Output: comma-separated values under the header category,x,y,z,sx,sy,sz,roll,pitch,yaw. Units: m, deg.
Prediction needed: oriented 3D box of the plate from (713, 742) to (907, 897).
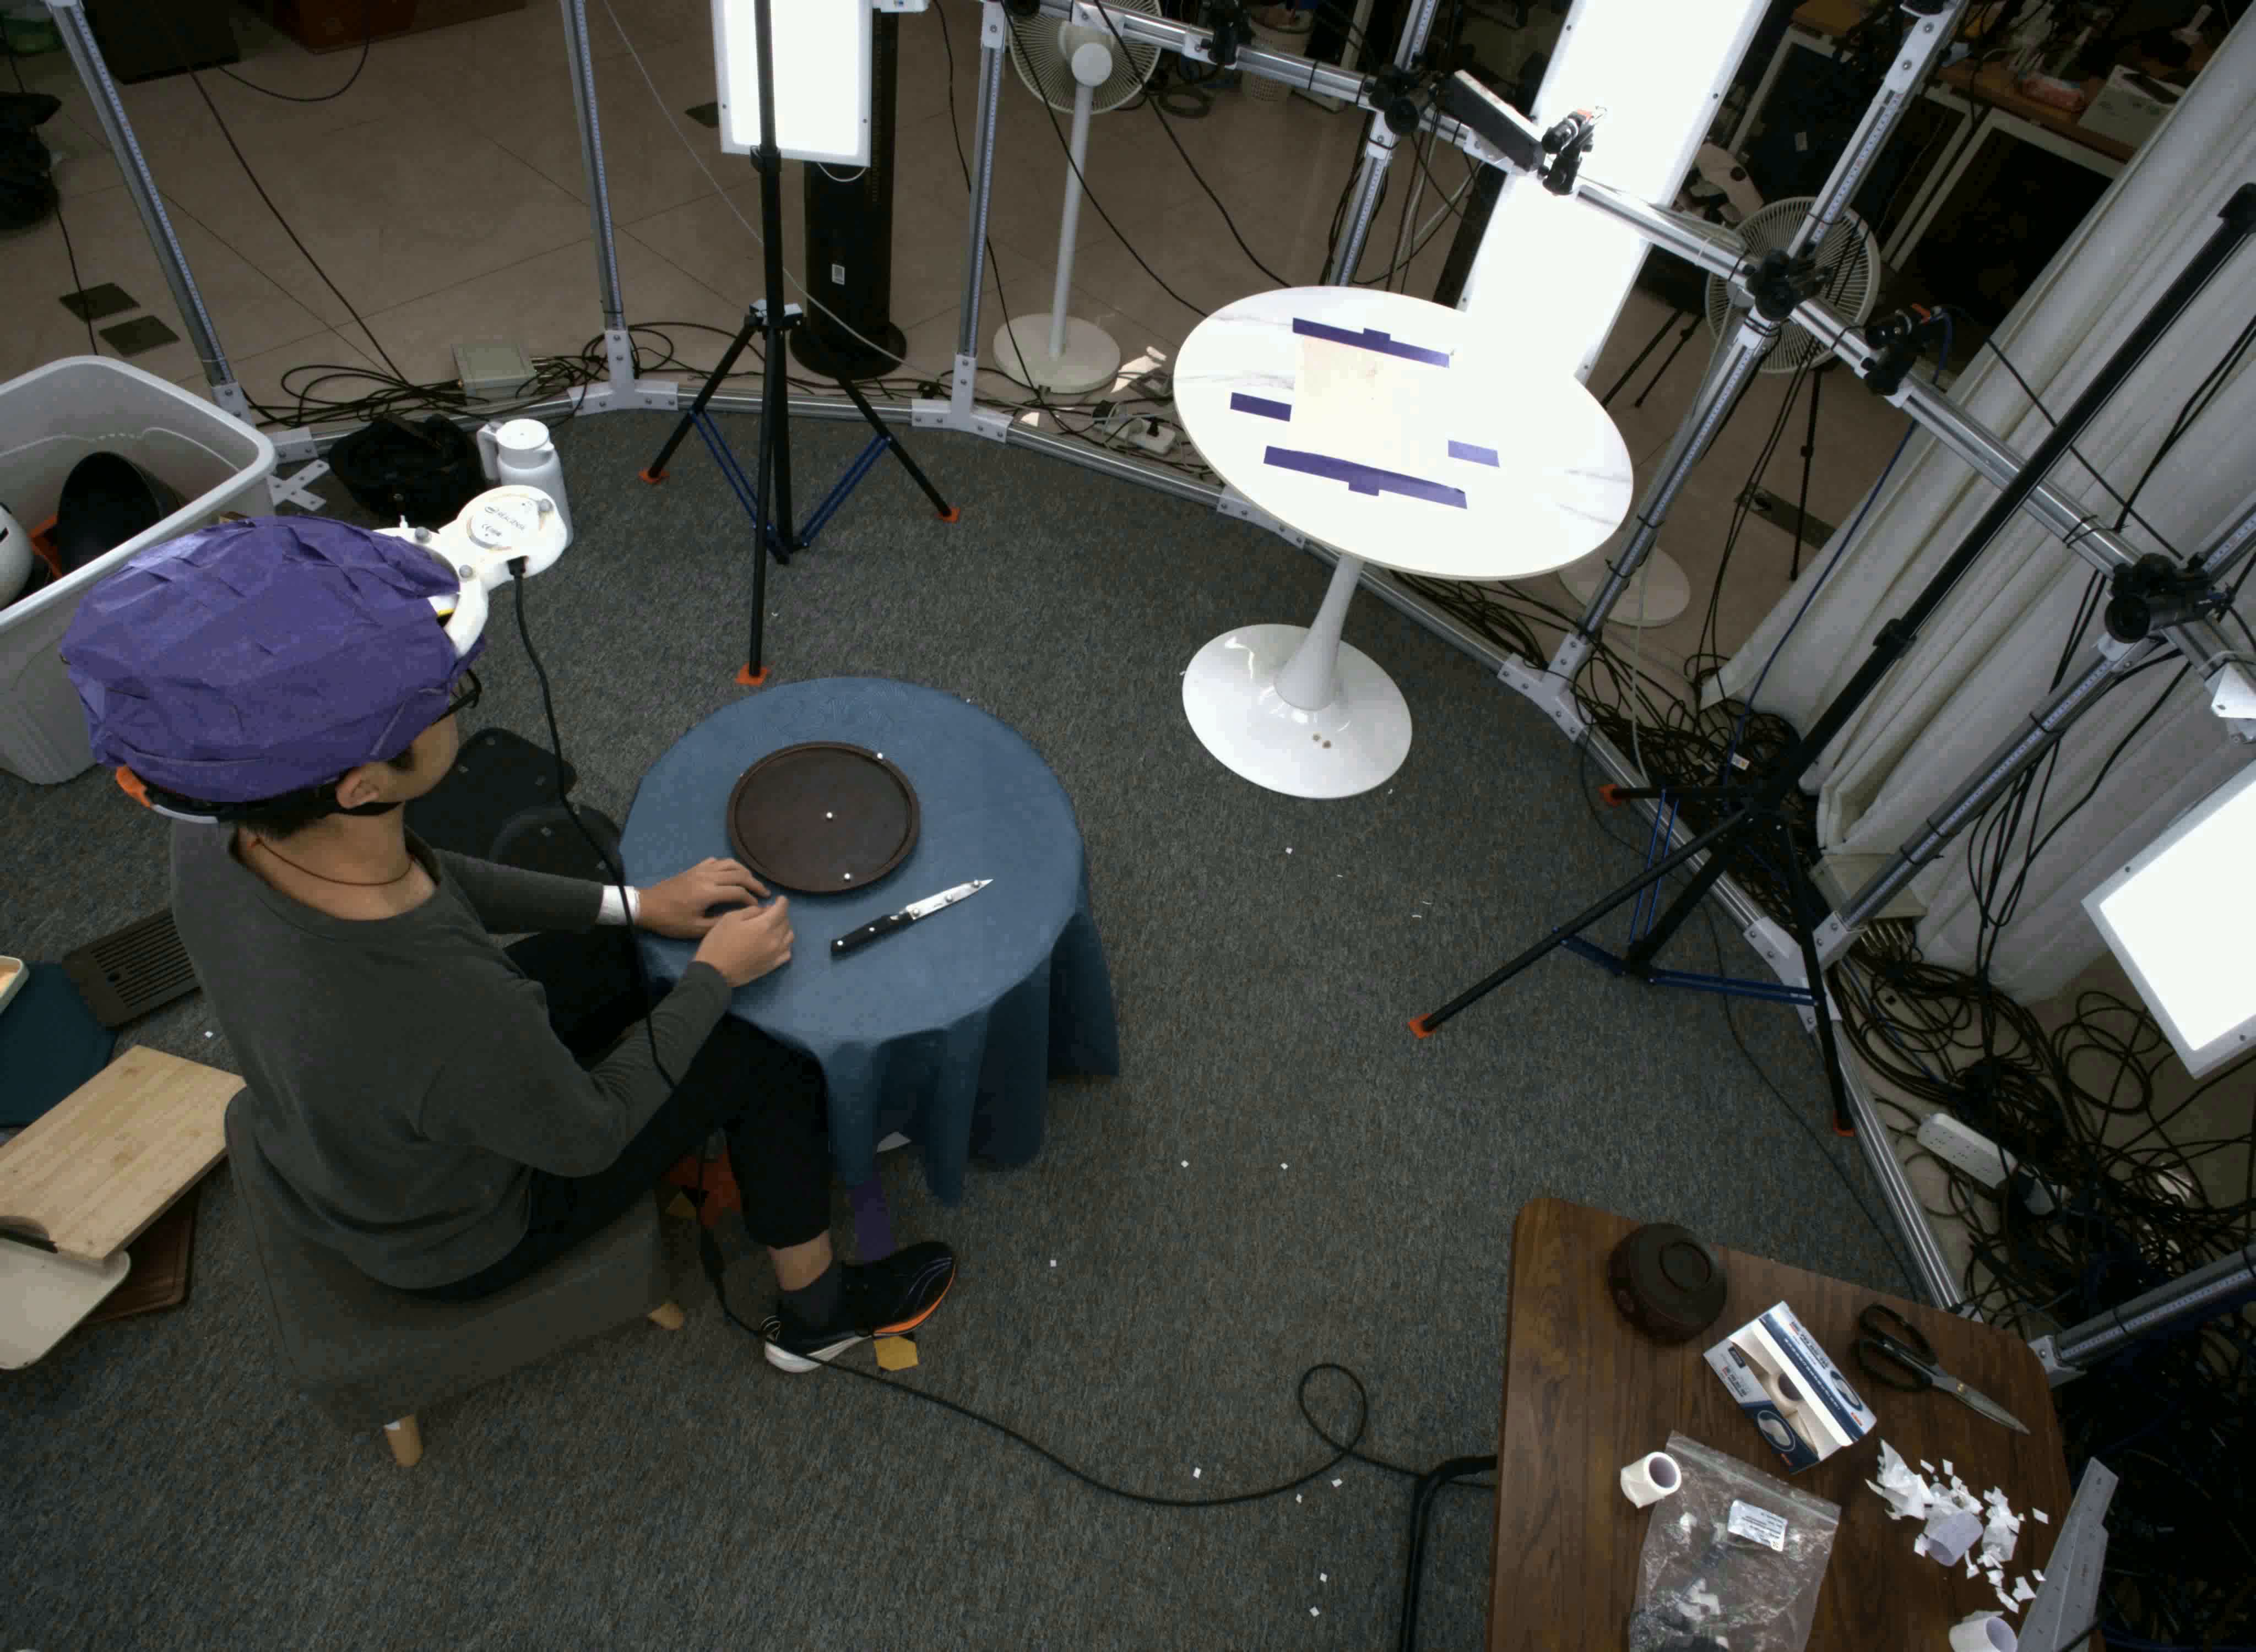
category,x,y,z,sx,sy,sz,roll,pitch,yaw
plate,-0.422,-0.010,1.729,0.254,0.029,0.250,8,51,-9

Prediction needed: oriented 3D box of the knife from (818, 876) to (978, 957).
category,x,y,z,sx,sy,sz,roll,pitch,yaw
knife,-0.291,0.112,1.679,0.239,0.017,0.024,-26,60,-32
